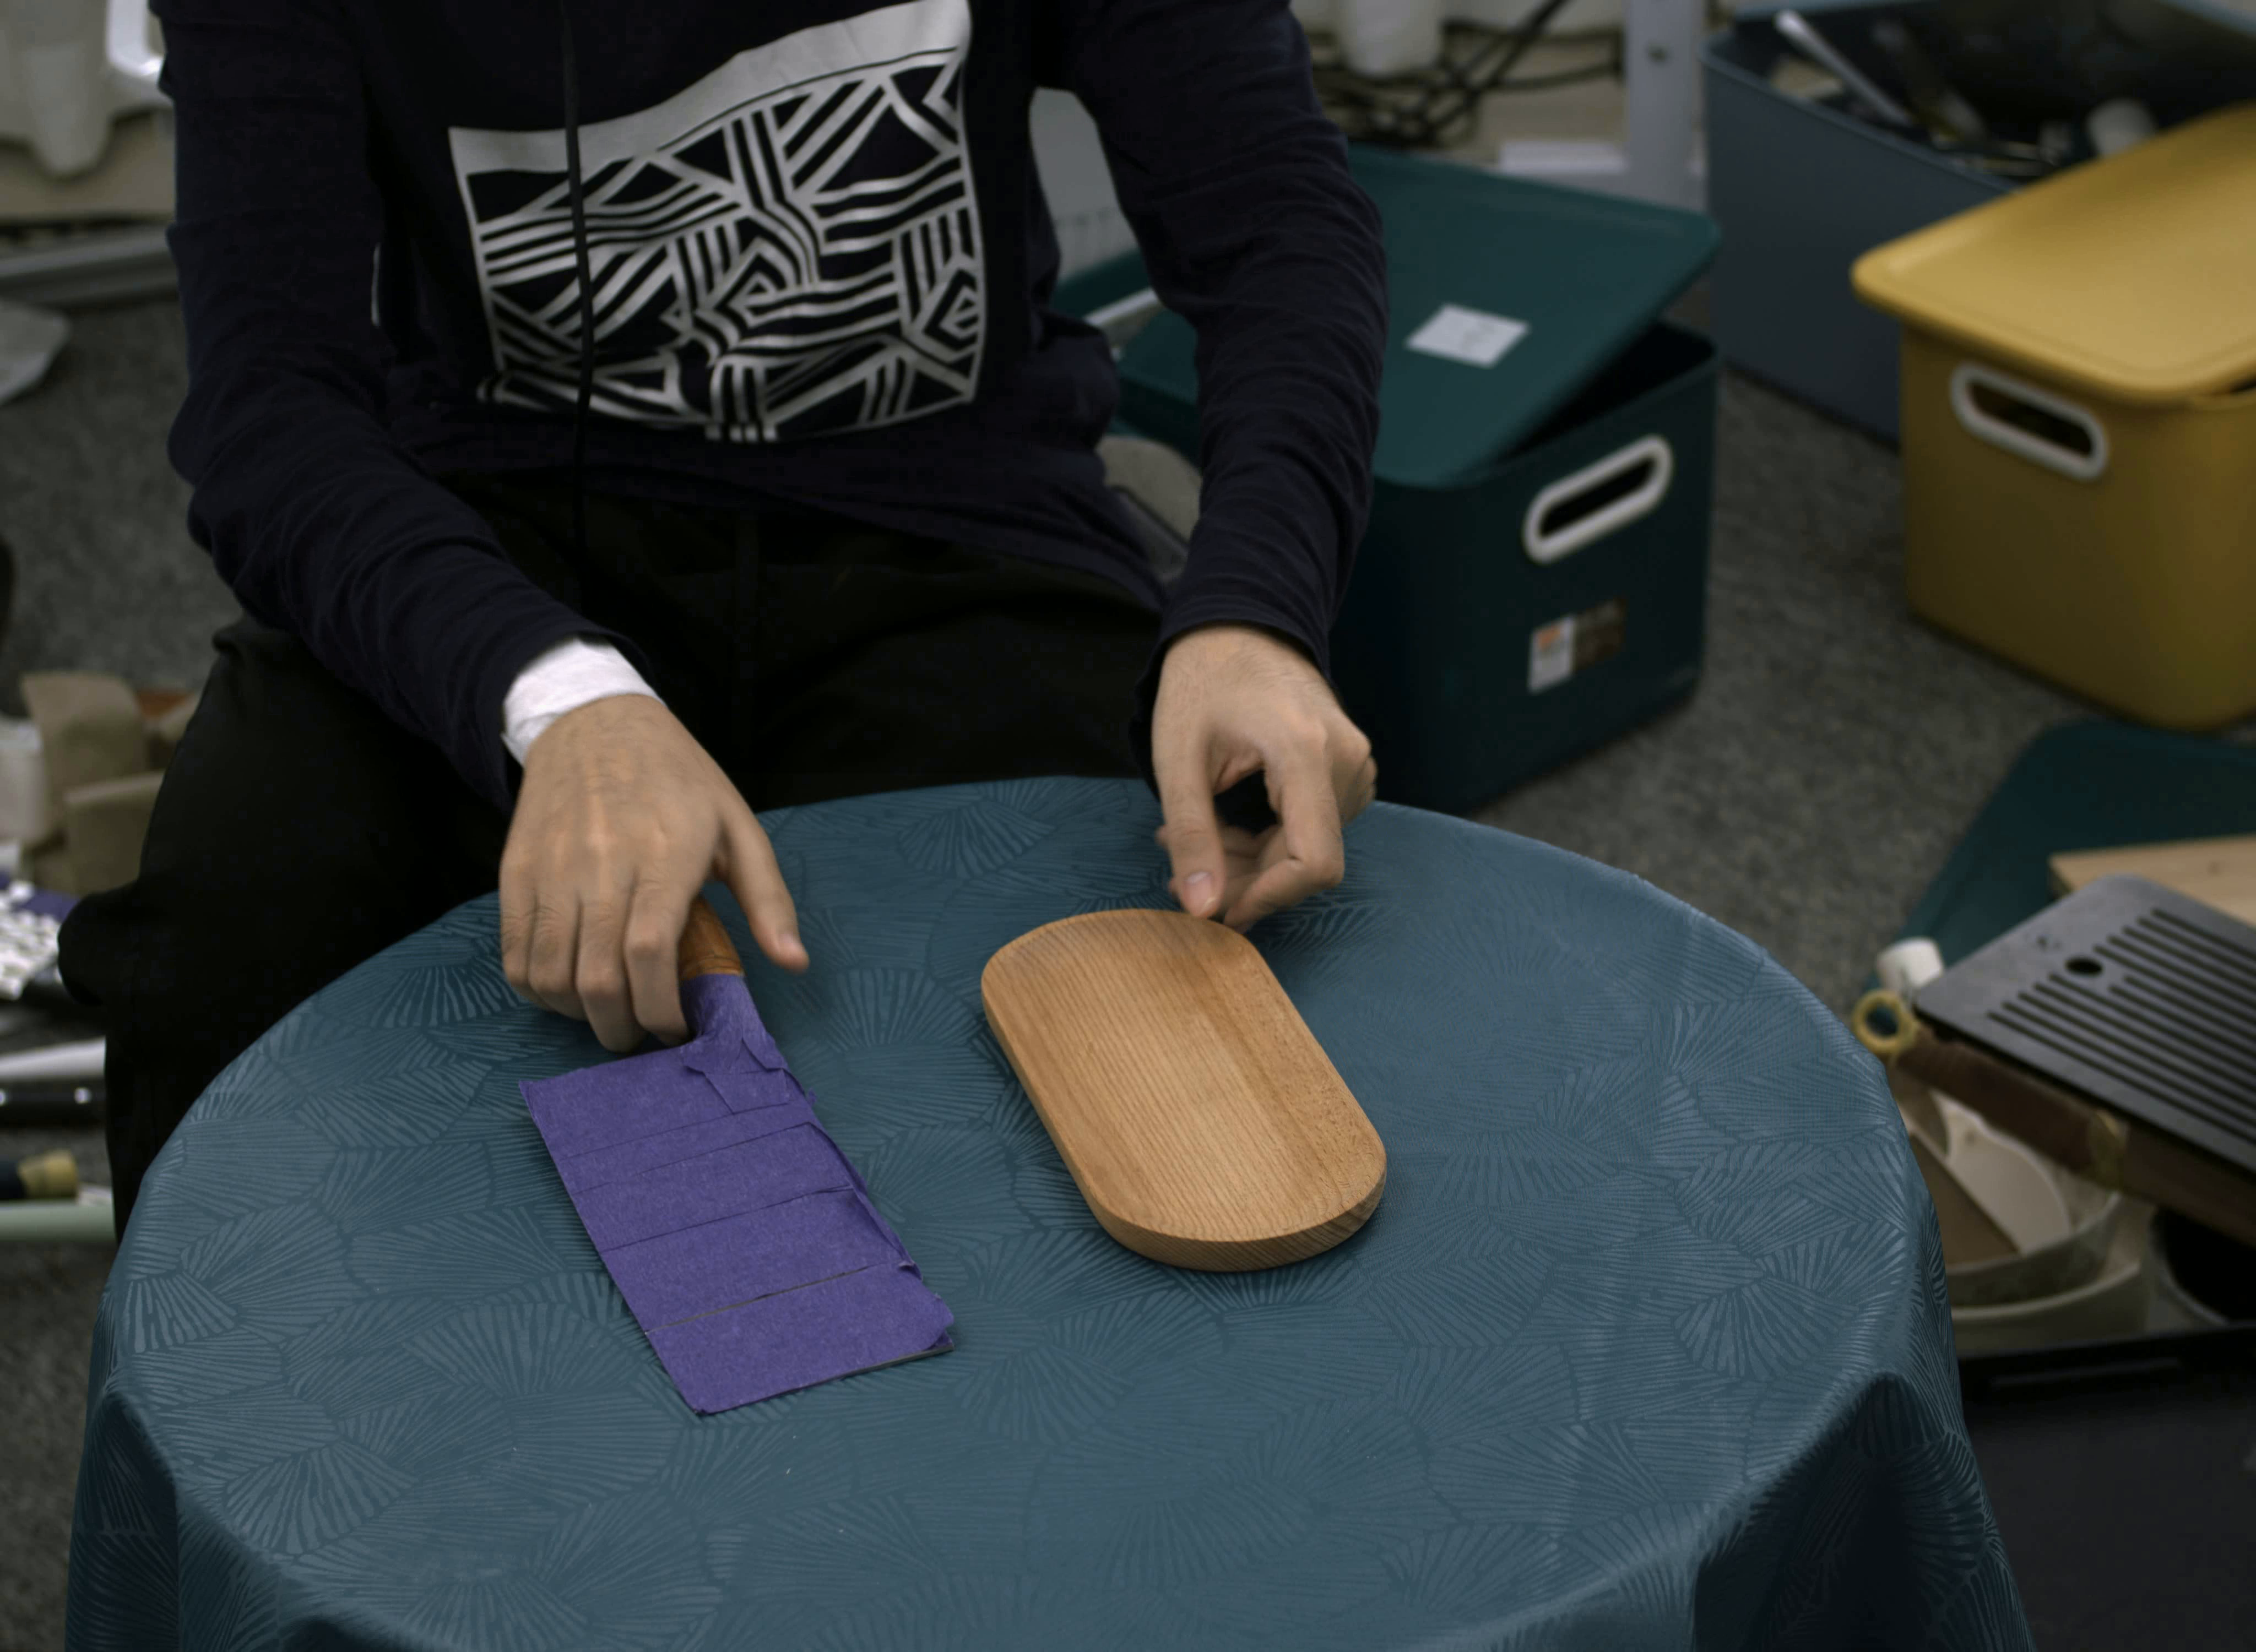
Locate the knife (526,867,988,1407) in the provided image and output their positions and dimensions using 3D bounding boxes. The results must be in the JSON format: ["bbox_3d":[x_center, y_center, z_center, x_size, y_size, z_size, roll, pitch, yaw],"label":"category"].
[{"bbox_3d":[-0.148,0.100,1.889,0.104,0.032,0.318,-12,29,-18],"label":"knife"}]

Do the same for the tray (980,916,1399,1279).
[{"bbox_3d":[0.019,0.090,1.904,0.102,0.020,0.233,-11,30,-14],"label":"tray"}]
